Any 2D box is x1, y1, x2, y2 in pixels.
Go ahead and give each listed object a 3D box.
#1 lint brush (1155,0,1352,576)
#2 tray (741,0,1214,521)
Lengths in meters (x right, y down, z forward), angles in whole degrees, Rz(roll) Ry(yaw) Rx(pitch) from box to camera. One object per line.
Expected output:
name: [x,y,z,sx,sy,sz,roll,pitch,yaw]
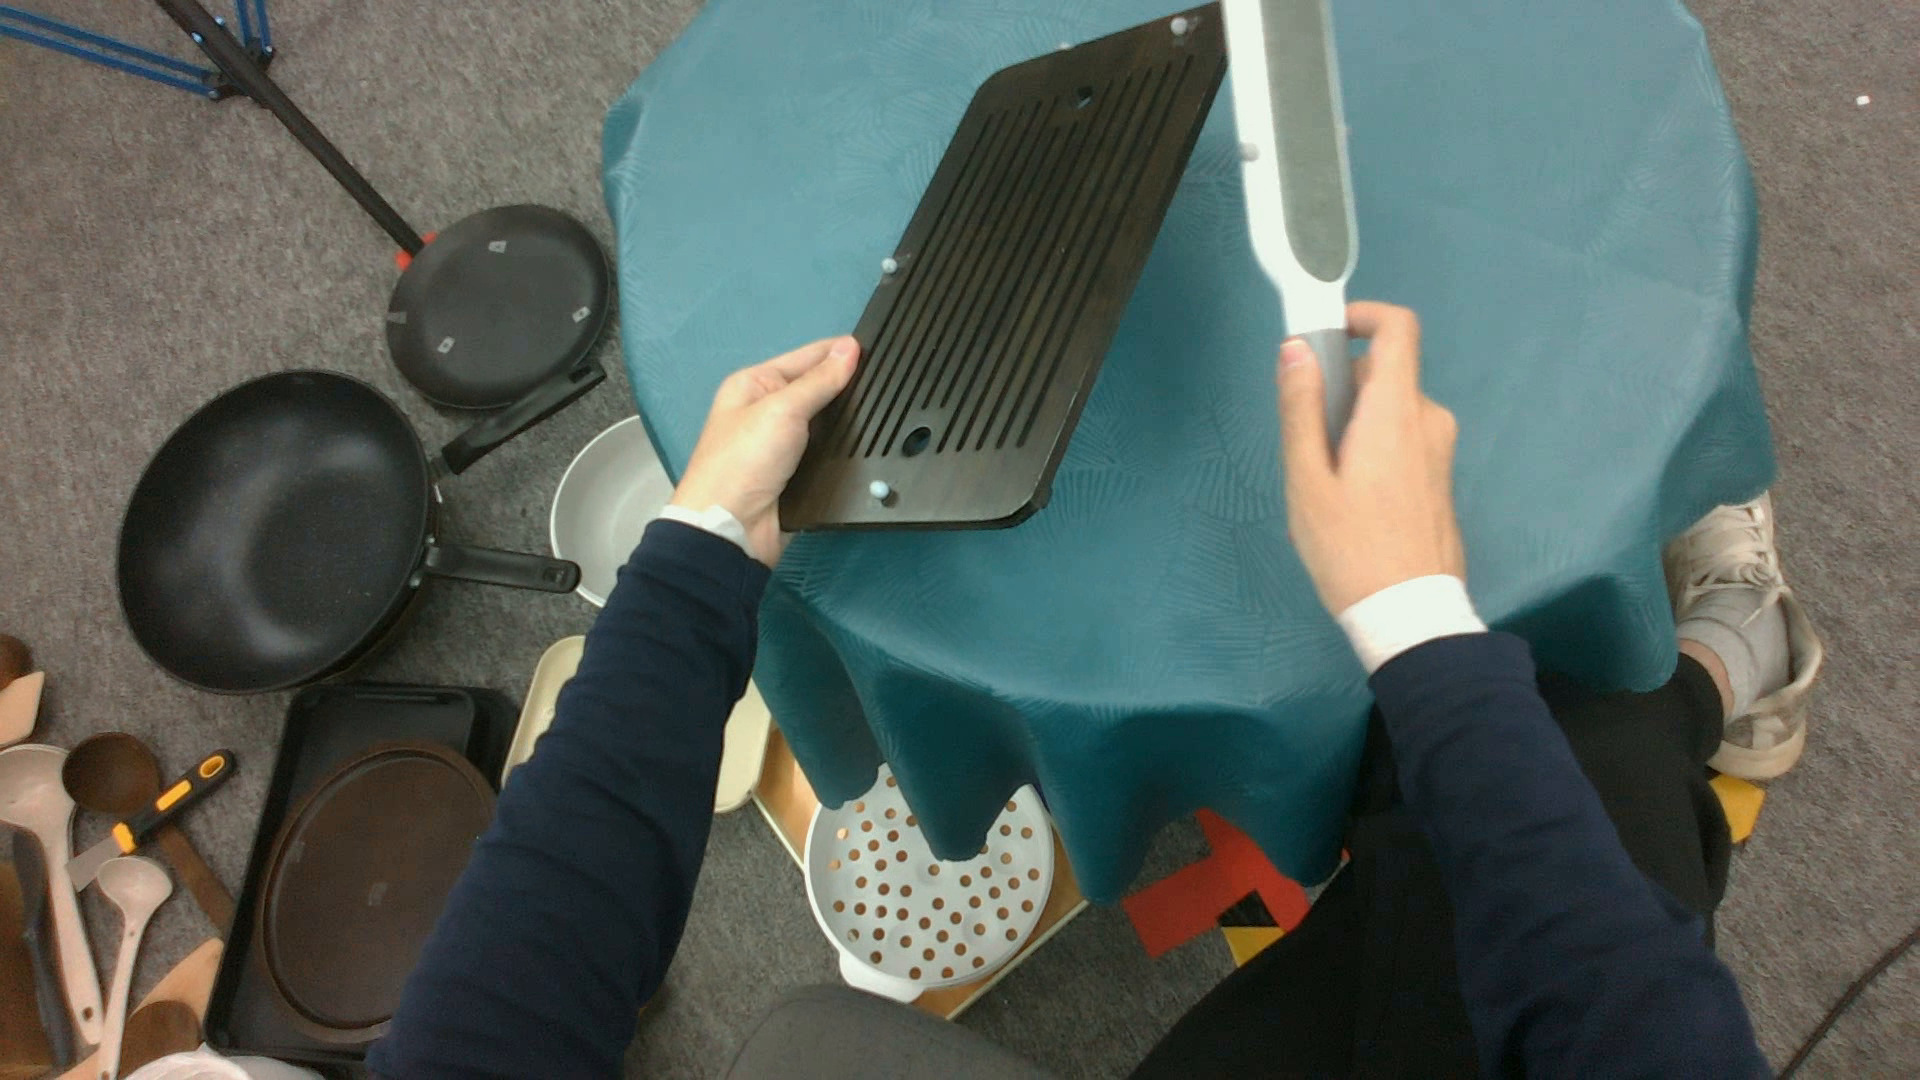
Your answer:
lint brush: [0.127,-0.136,0.598,0.021,0.060,0.309,-16,83,47]
tray: [0.012,-0.138,0.662,0.169,0.018,0.307,-2,56,42]
